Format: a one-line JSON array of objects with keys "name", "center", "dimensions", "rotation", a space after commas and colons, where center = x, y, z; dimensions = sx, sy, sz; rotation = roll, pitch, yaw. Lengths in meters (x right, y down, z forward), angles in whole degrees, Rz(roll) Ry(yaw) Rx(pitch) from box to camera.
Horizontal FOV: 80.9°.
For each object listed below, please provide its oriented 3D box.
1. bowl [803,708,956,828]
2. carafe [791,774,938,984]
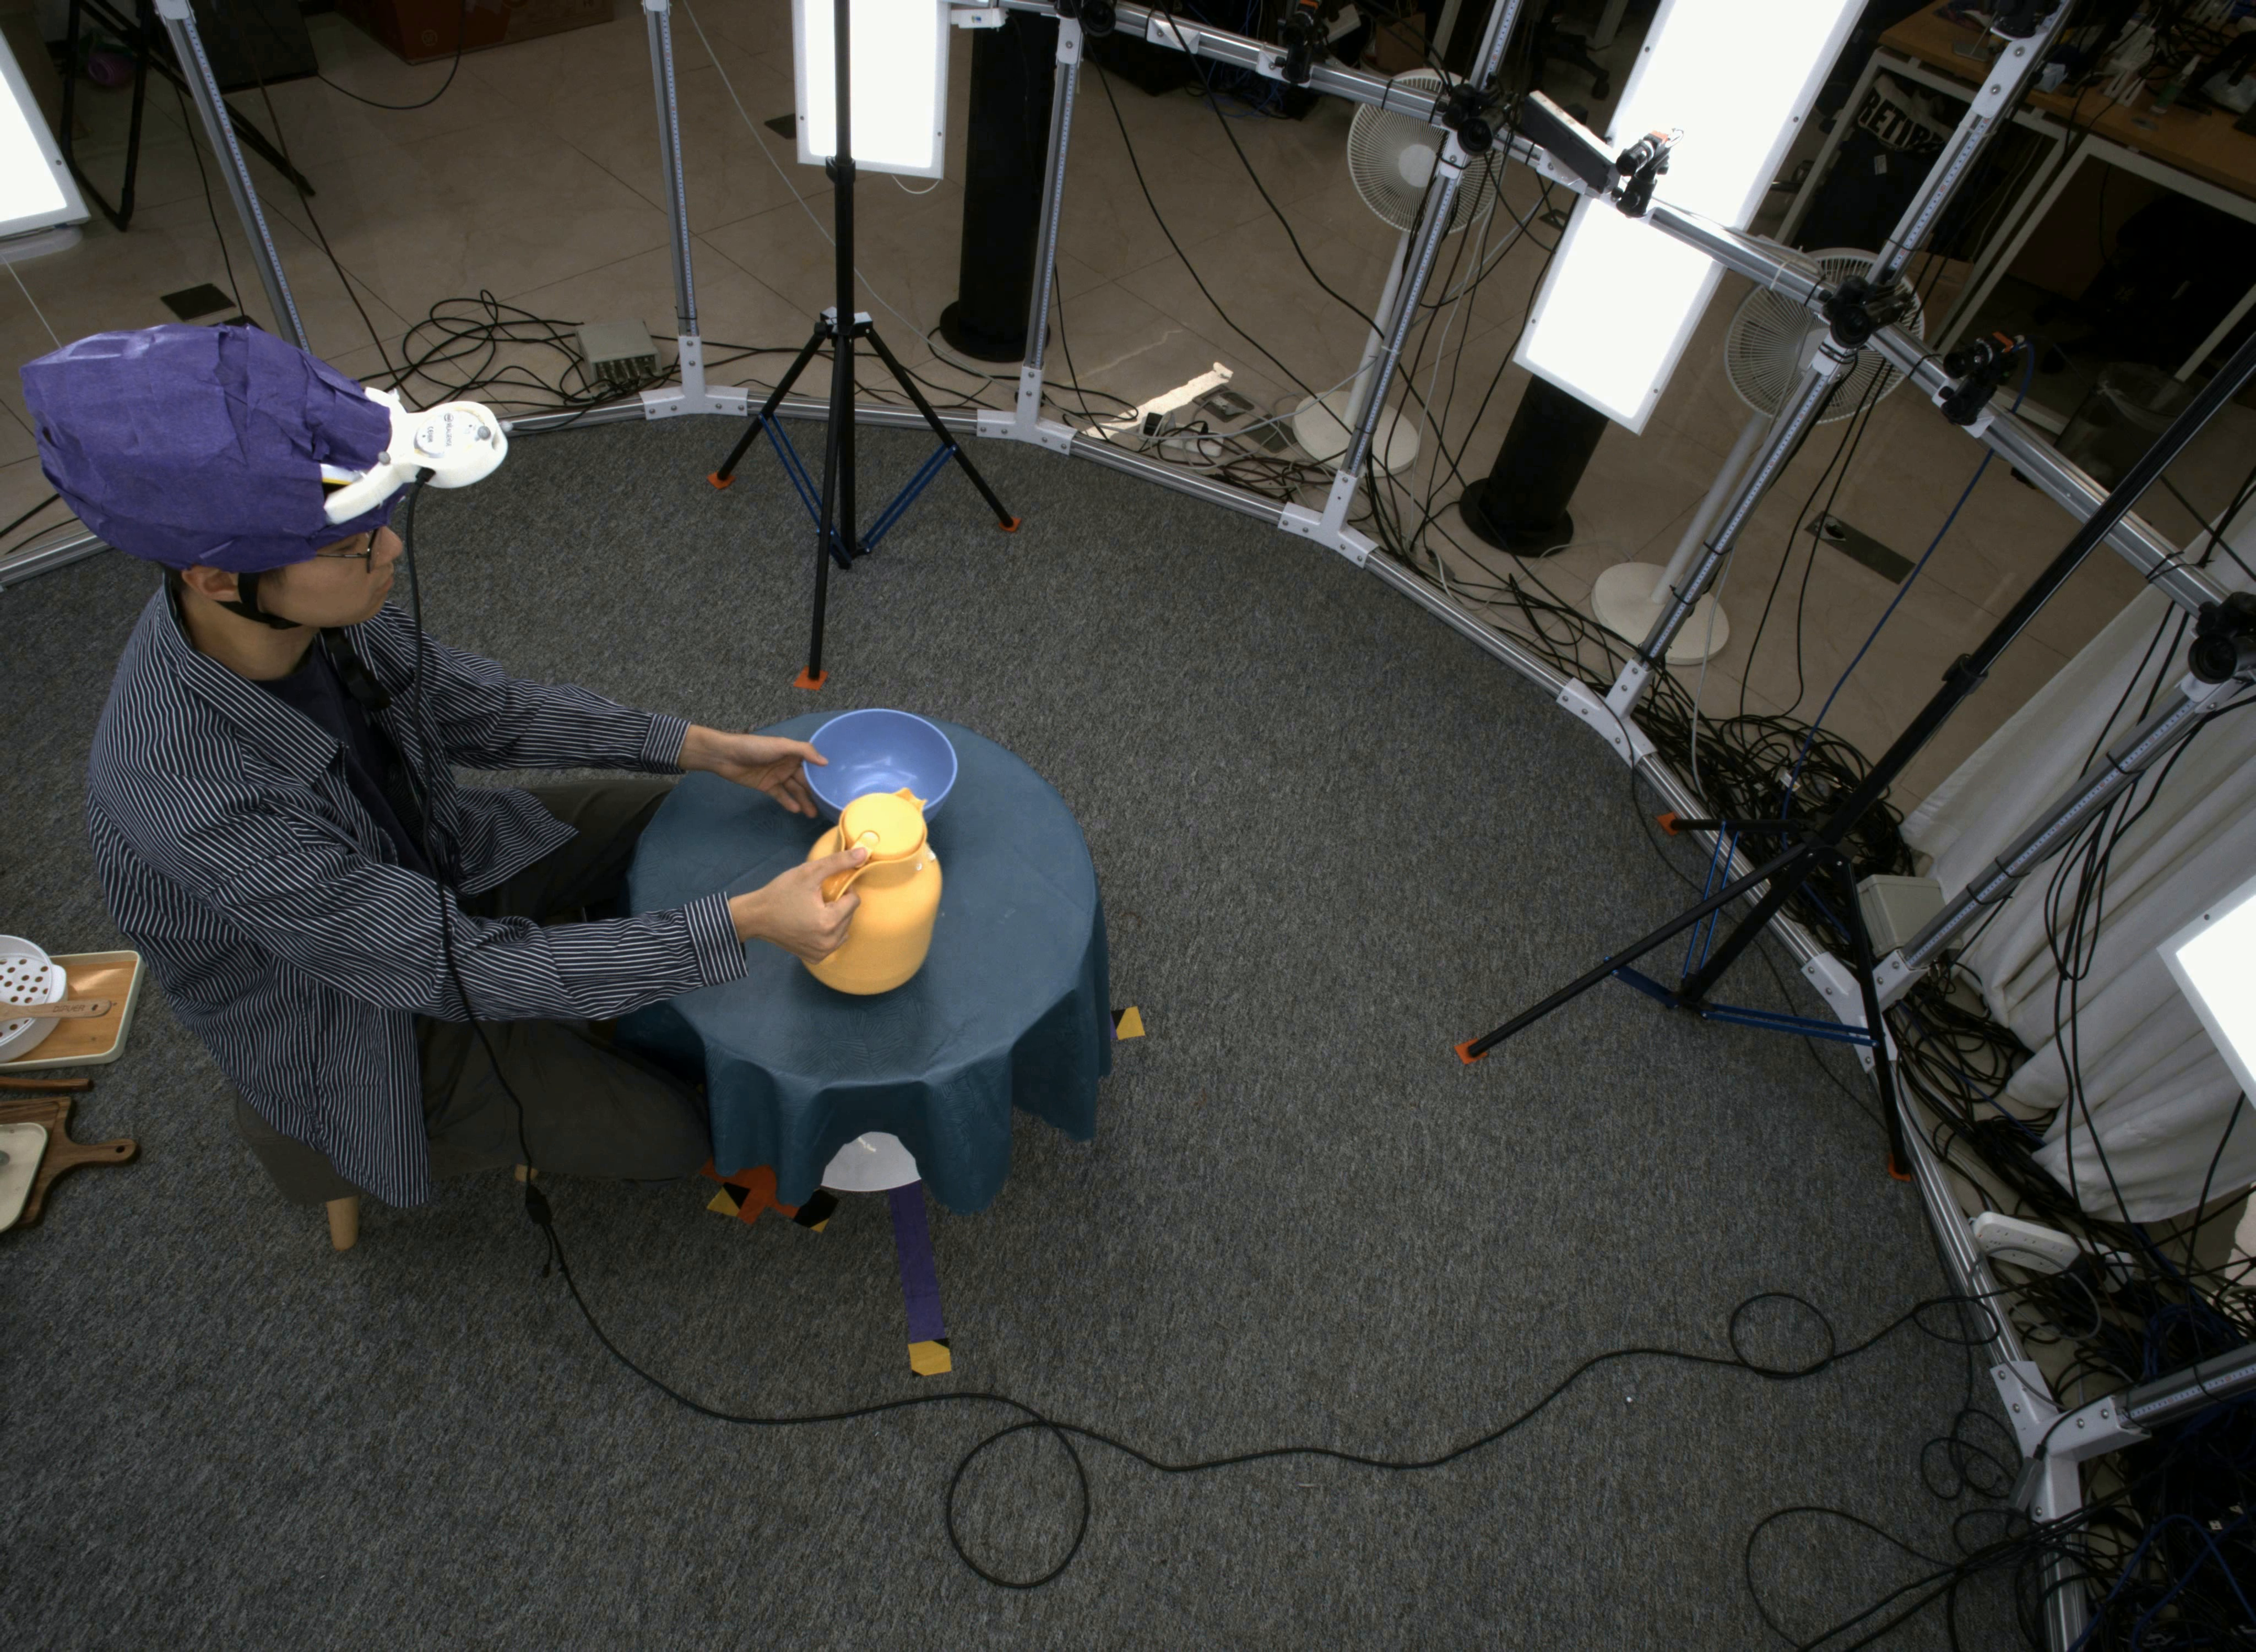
[{"name": "bowl", "center": [-0.328, -0.052, 1.718], "dimensions": [0.196, 0.097, 0.193], "rotation": [8, 49, -8]}, {"name": "carafe", "center": [-0.316, 0.069, 1.516], "dimensions": [0.162, 0.264, 0.201], "rotation": [29, 48, 5]}]
